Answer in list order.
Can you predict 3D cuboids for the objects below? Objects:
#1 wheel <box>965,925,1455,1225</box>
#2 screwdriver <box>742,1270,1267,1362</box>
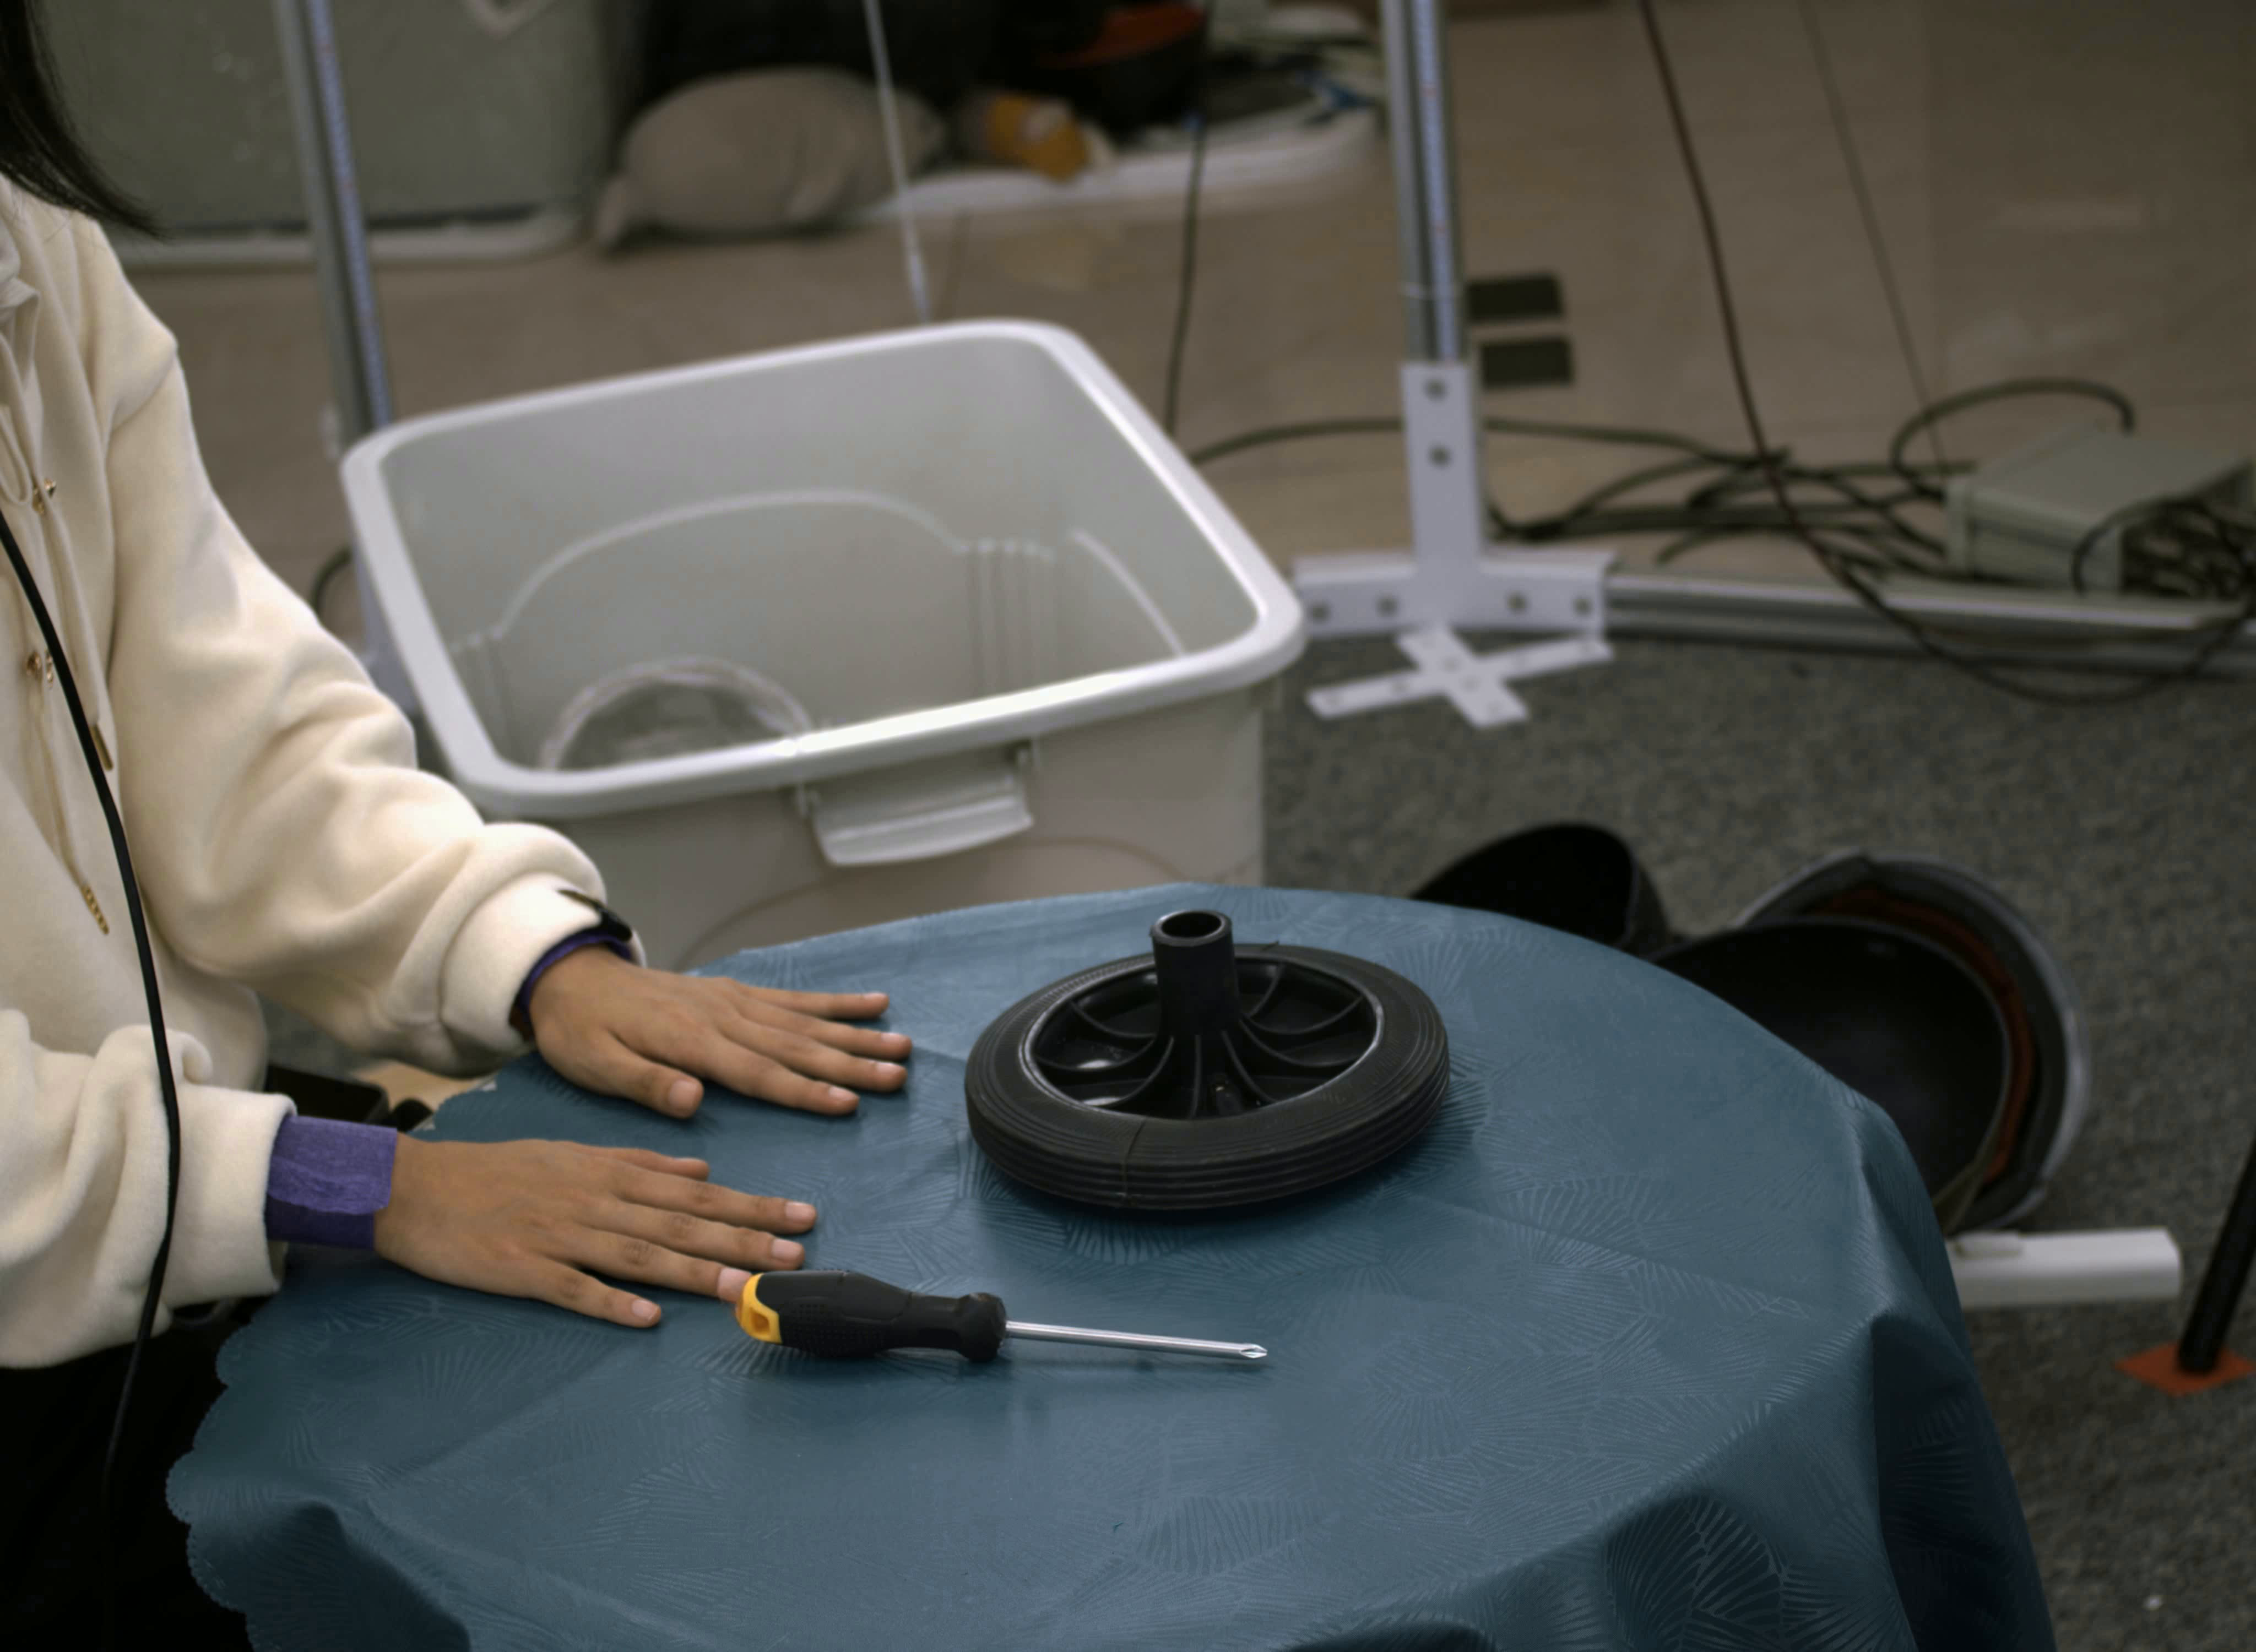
[{"bbox_3d":[0.030,0.080,2.178,0.186,0.080,0.188,-21,31,-29],"label":"wheel"},{"bbox_3d":[-0.044,0.179,2.045,0.196,0.032,0.031,2,26,12],"label":"screwdriver"}]
